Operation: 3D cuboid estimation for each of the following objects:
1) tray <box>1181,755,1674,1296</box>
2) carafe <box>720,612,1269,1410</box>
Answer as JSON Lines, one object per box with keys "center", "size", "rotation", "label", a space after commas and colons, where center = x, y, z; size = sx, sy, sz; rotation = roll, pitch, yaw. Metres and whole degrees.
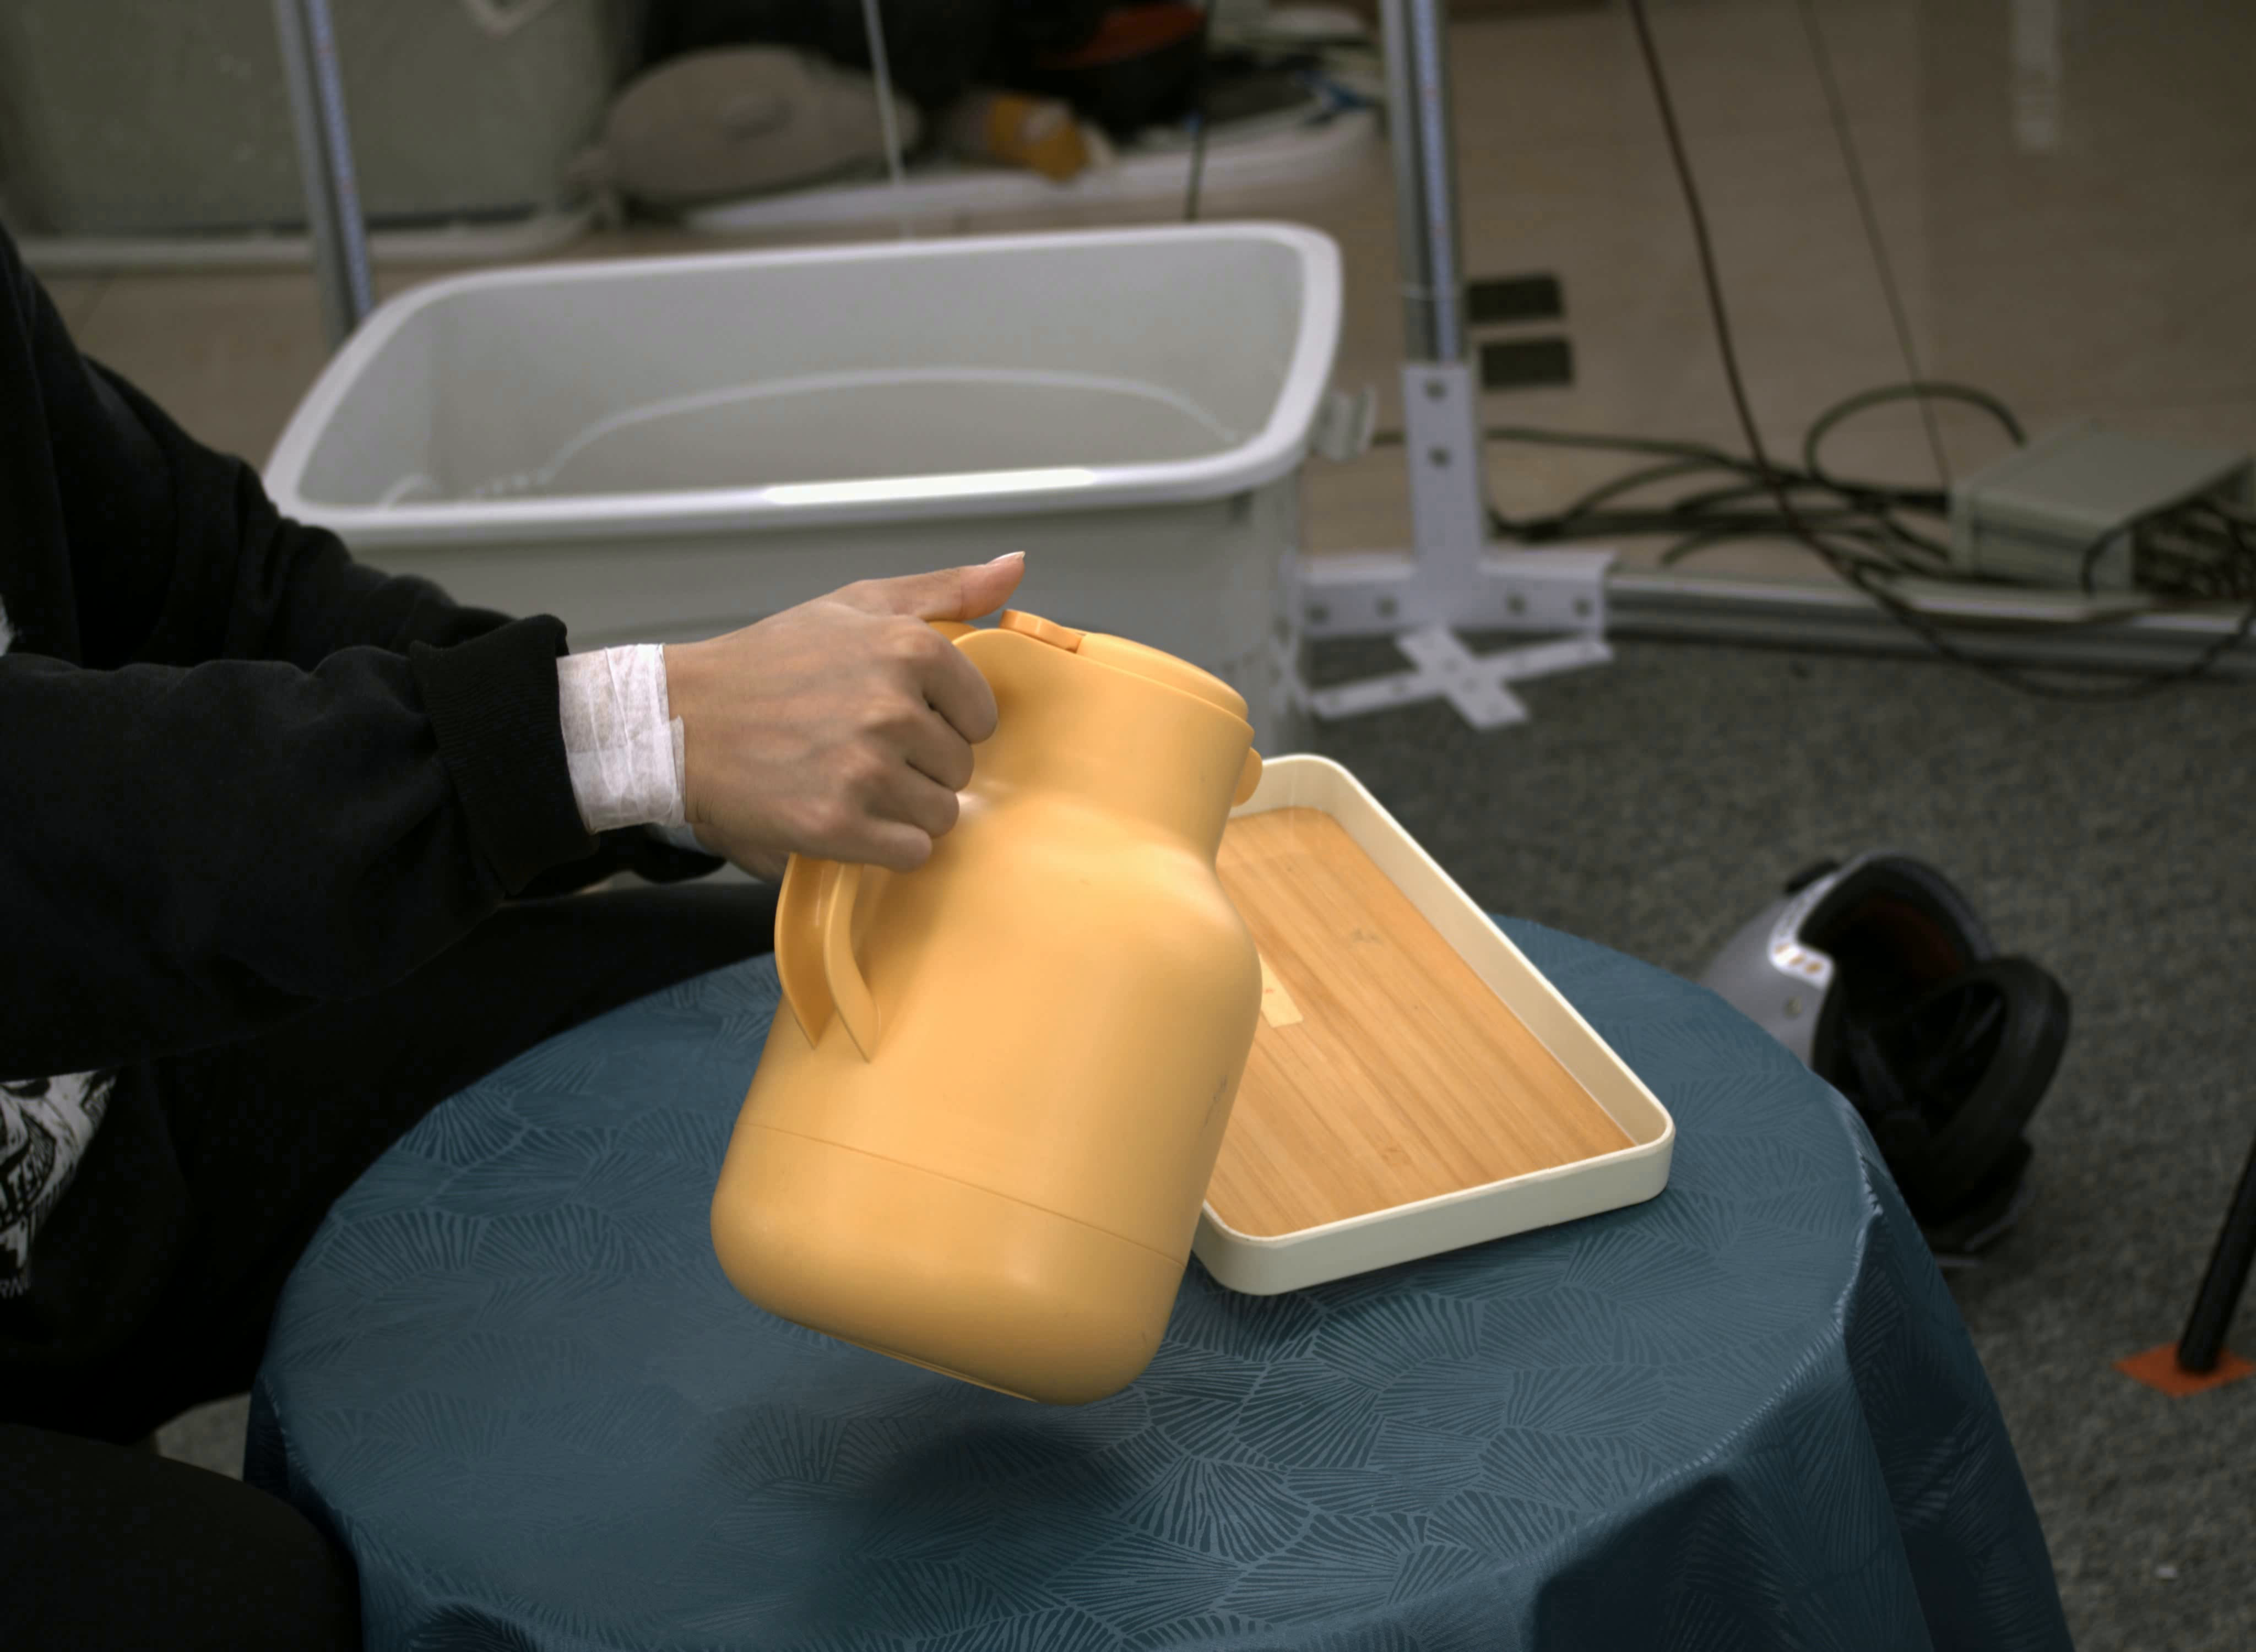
{"center": [0.059, 0.071, 2.175], "size": [0.191, 0.028, 0.296], "rotation": [-12, 36, -23], "label": "tray"}
{"center": [-0.047, 0.057, 1.953], "size": [0.162, 0.259, 0.204], "rotation": [9, -11, 42], "label": "carafe"}
